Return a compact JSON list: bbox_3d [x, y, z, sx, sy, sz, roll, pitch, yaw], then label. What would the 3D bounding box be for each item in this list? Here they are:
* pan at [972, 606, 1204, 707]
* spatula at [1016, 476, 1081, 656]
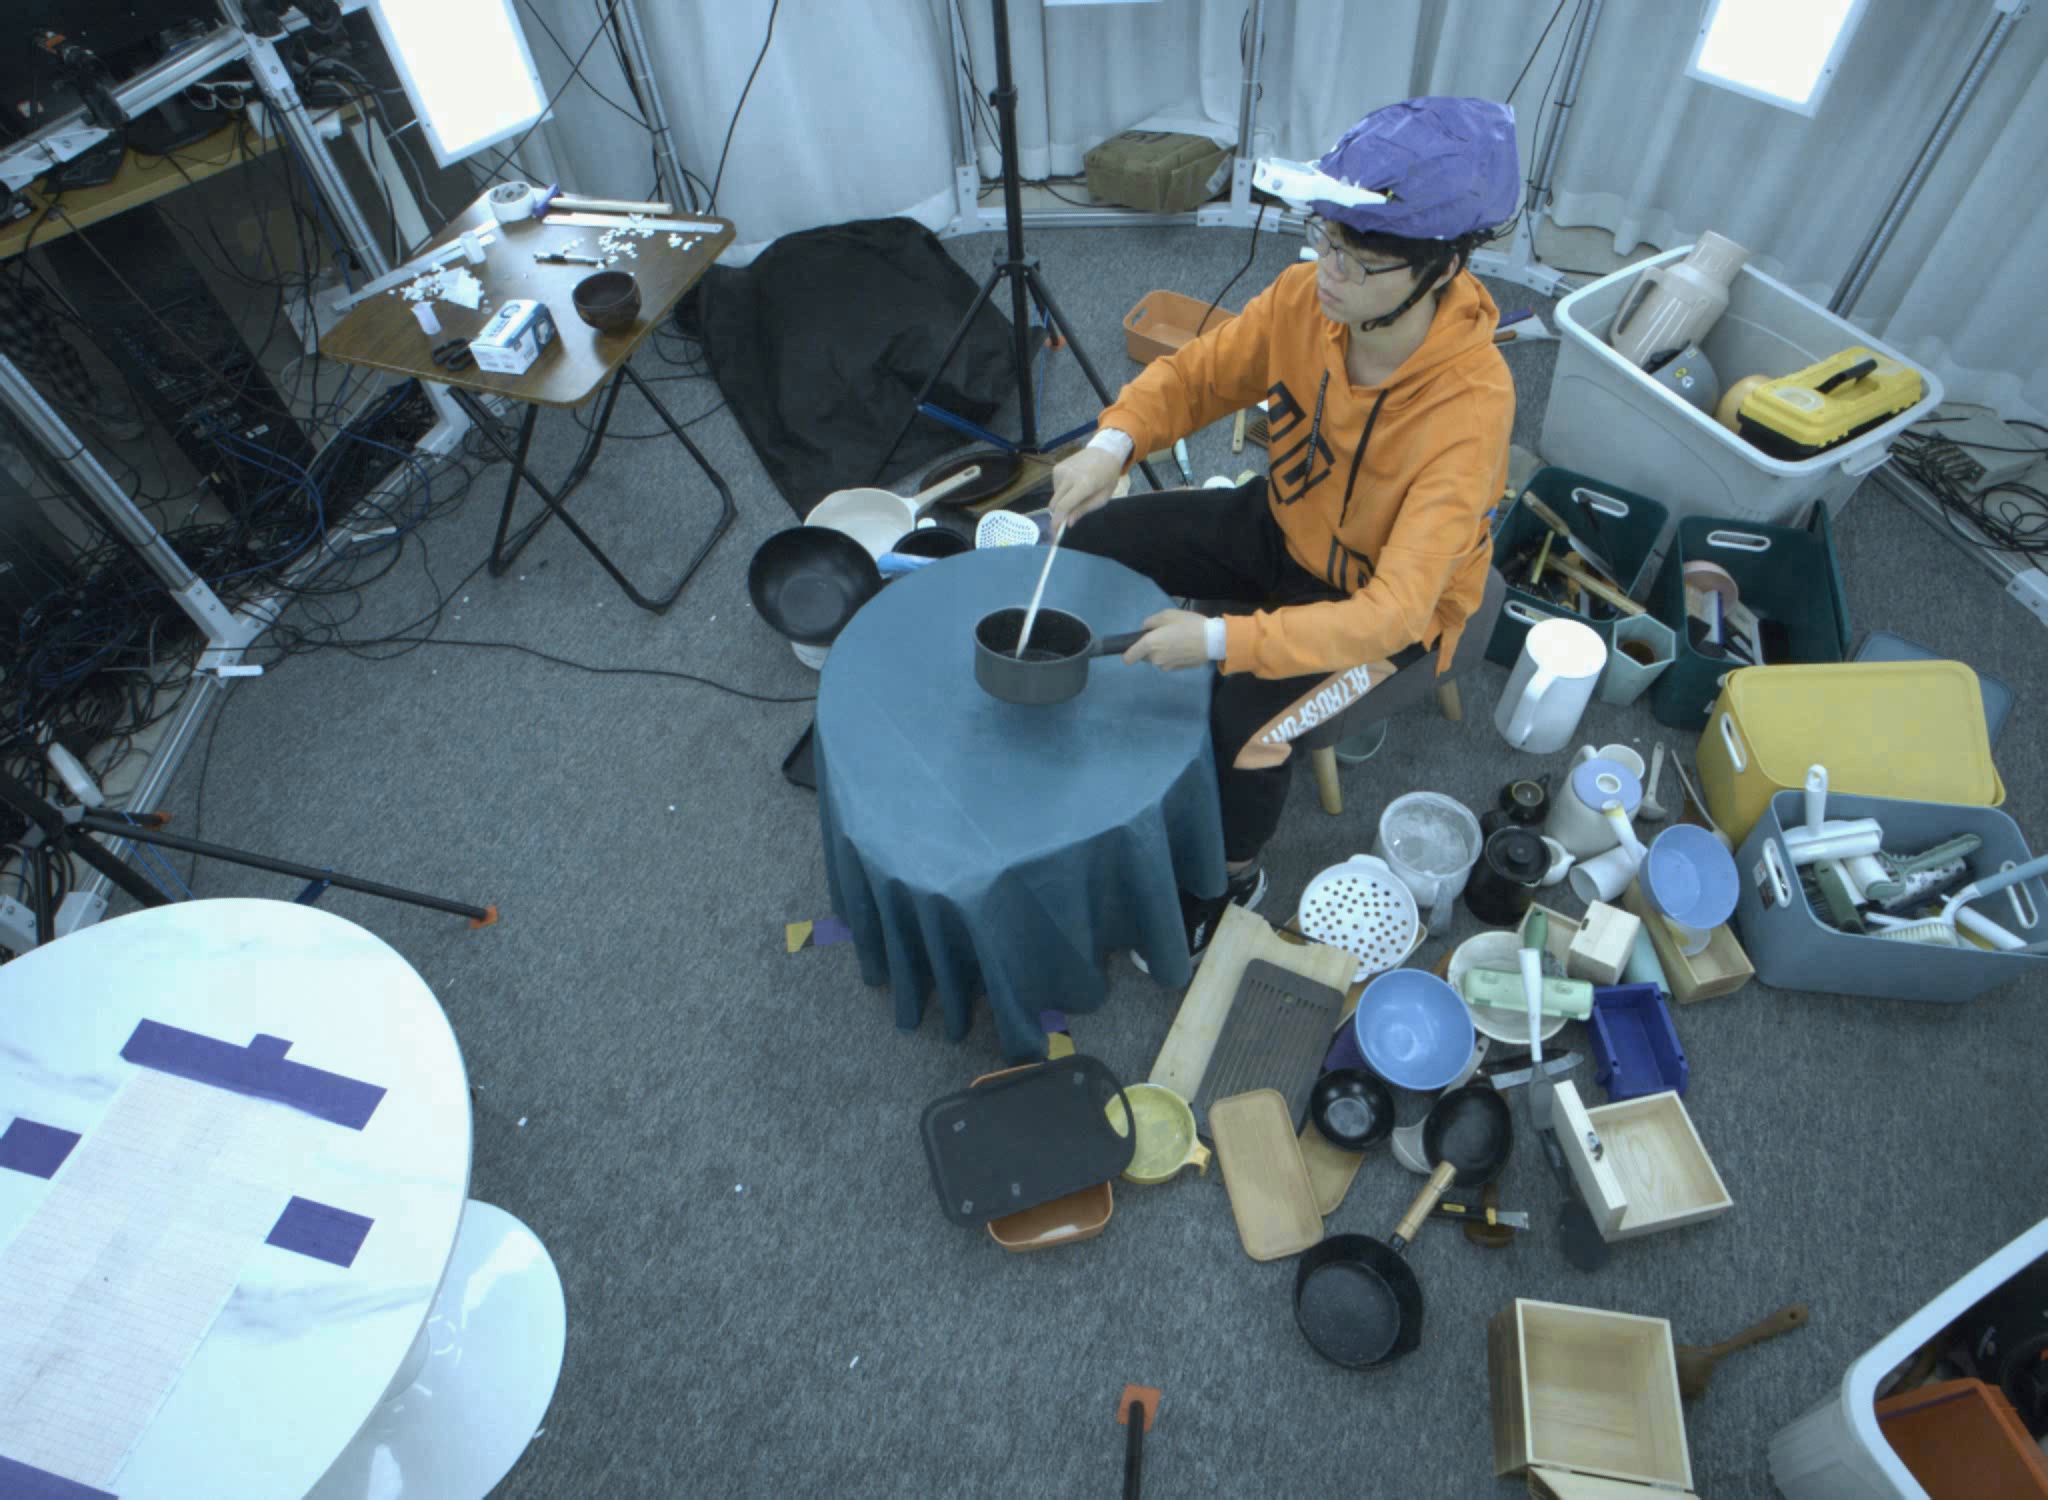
[{"bbox_3d":[0.090,-0.135,1.756,0.330,0.087,0.170,0,36,-5],"label":"pan"},{"bbox_3d":[0.036,-0.271,1.746,0.011,0.072,0.292,19,70,-1],"label":"spatula"}]
